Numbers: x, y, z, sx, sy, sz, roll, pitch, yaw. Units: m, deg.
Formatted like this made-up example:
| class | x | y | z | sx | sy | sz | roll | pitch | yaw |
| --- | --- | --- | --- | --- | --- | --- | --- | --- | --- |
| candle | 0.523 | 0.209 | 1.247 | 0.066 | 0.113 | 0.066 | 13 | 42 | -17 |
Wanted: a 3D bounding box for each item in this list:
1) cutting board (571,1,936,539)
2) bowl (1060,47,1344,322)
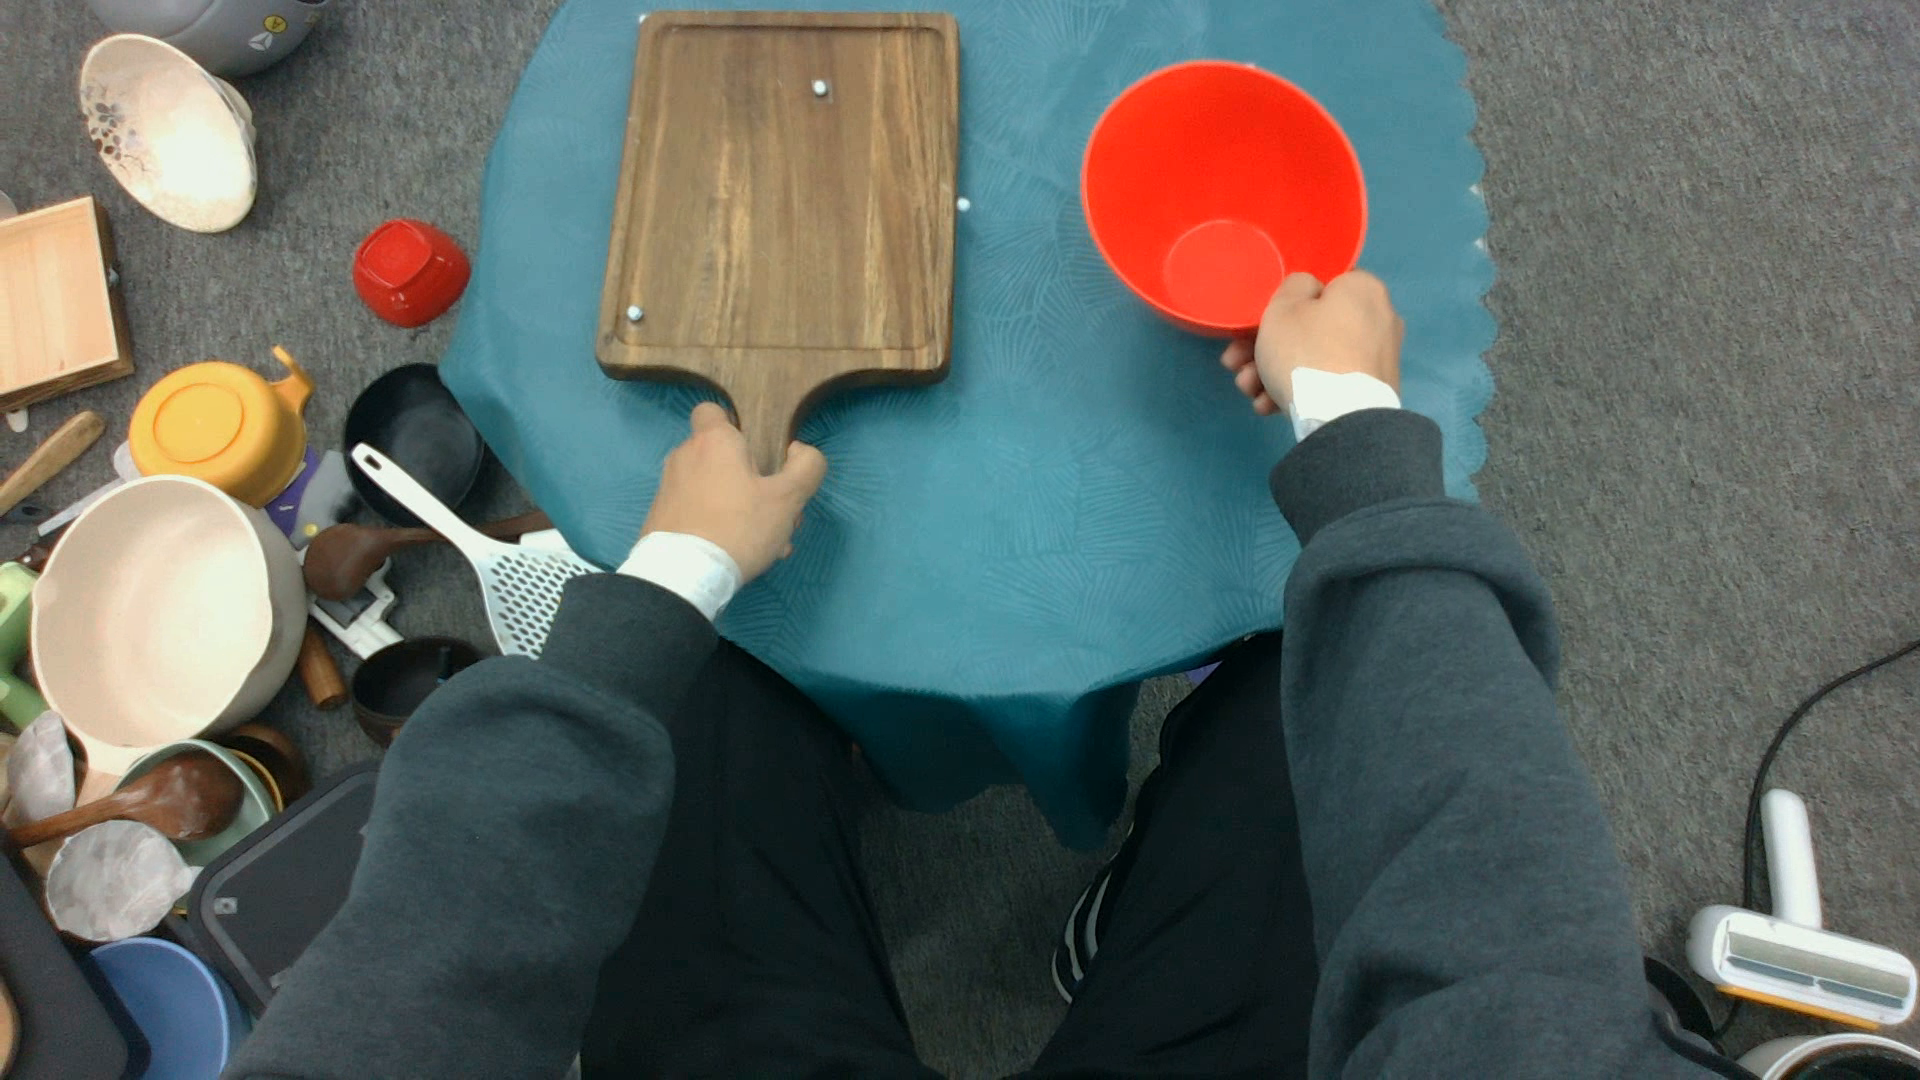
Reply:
| class | x | y | z | sx | sy | sz | roll | pitch | yaw |
| --- | --- | --- | --- | --- | --- | --- | --- | --- | --- |
| cutting board | -0.115 | -0.166 | 0.783 | 0.201 | 0.023 | 0.353 | 0 | 67 | 0 |
| bowl | 0.127 | -0.177 | 0.745 | 0.148 | 0.104 | 0.148 | -1 | 74 | 2 |
